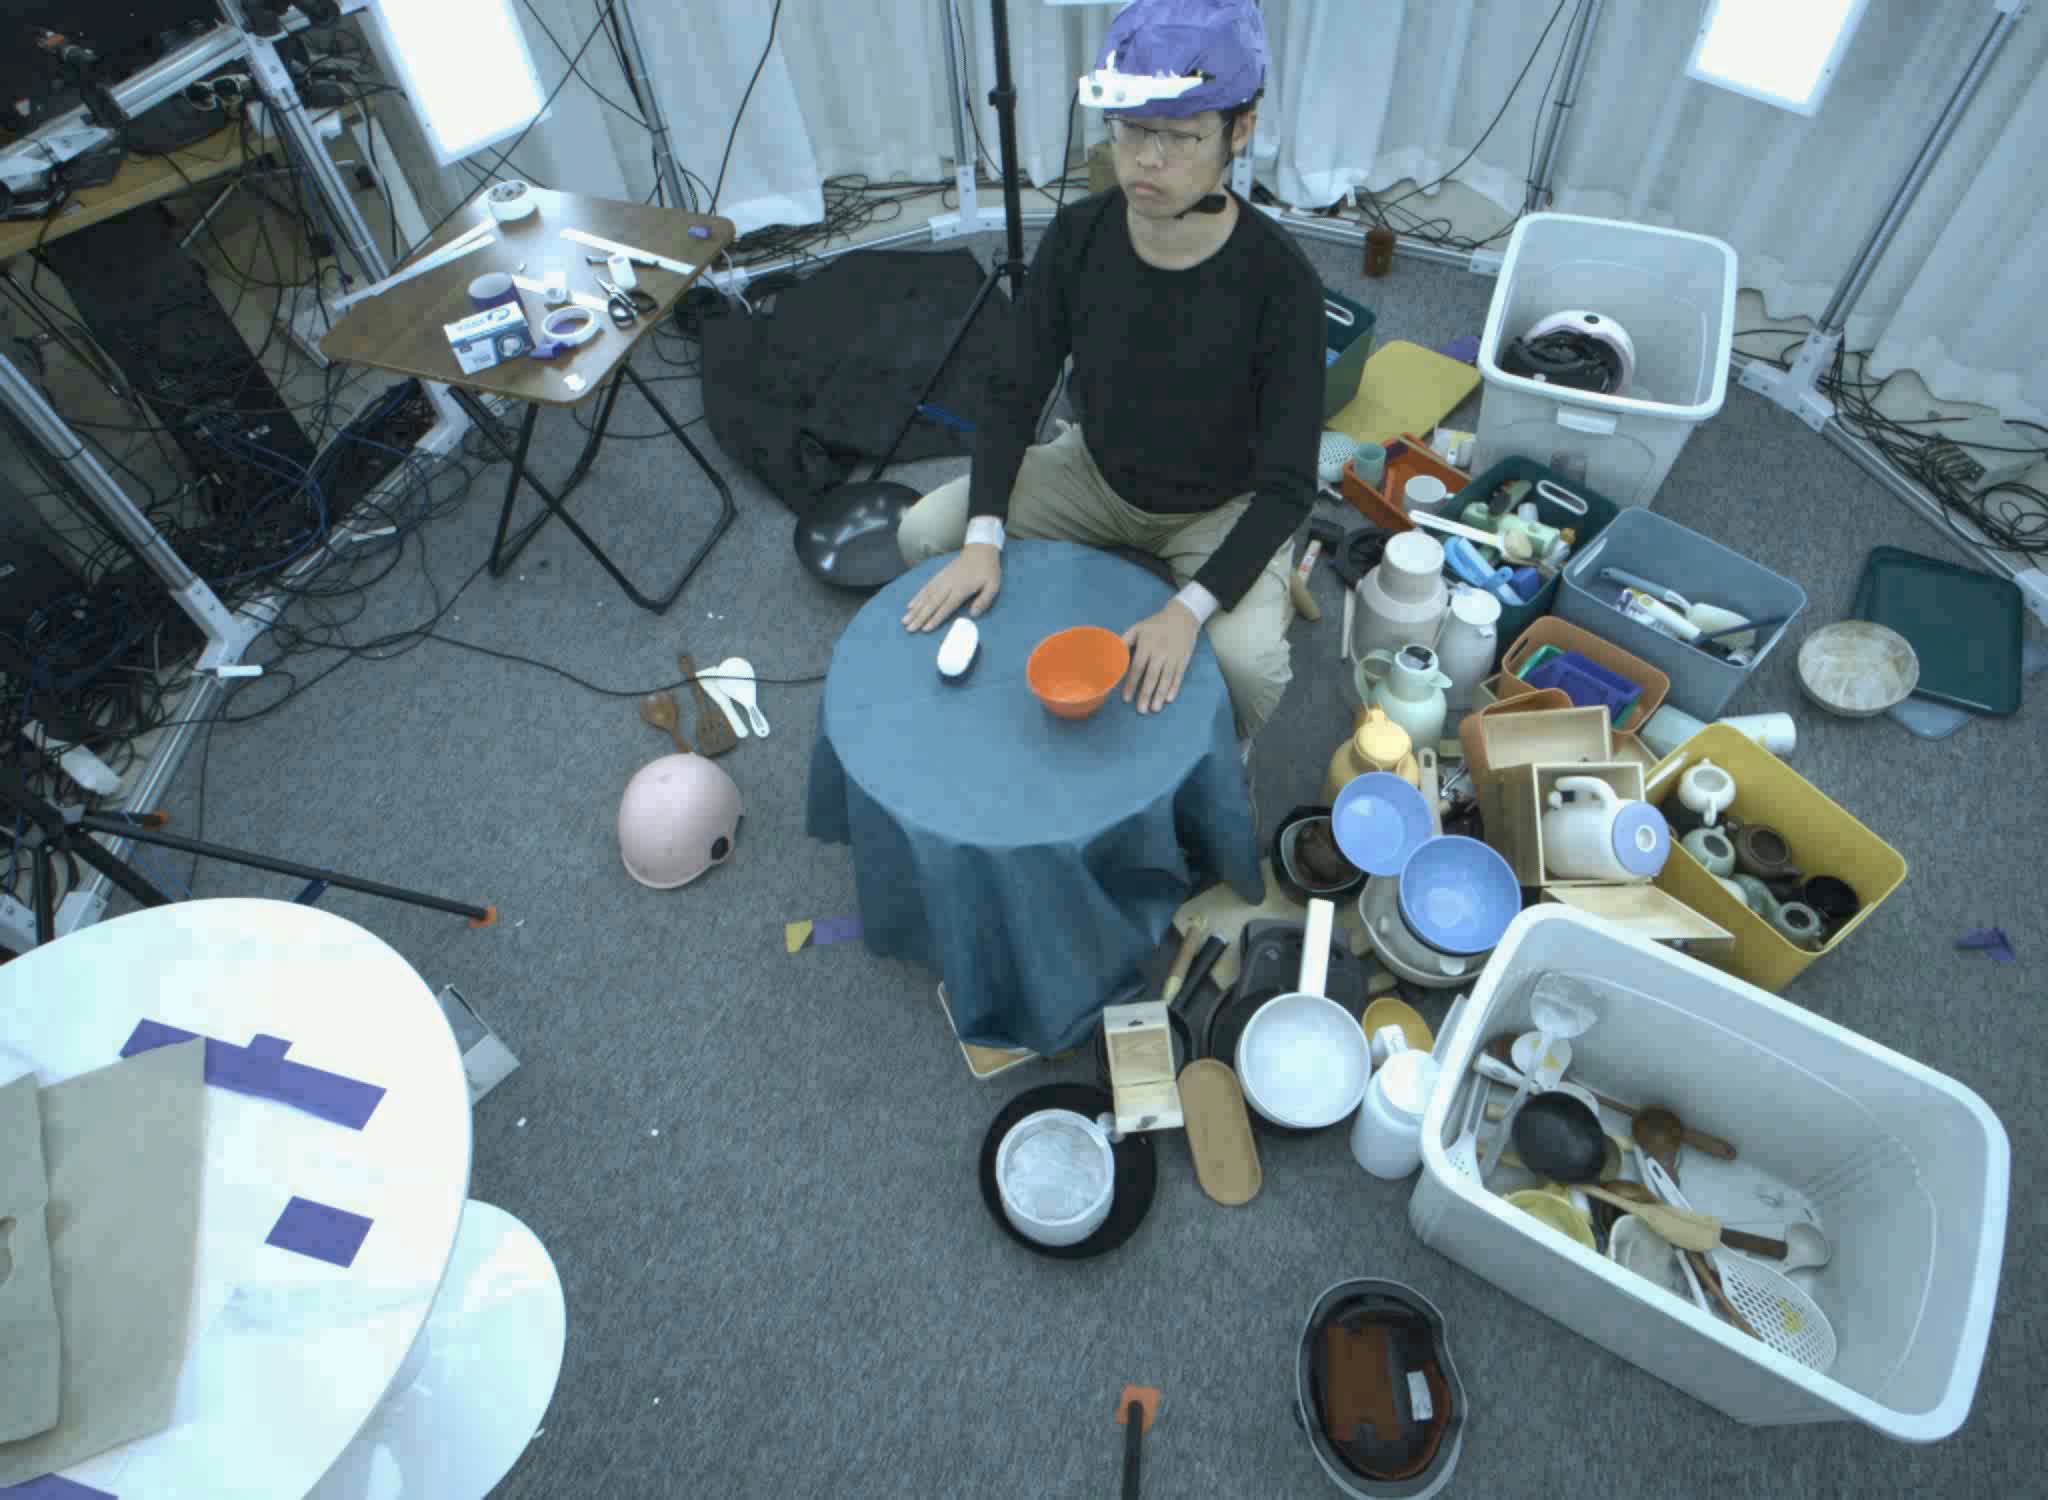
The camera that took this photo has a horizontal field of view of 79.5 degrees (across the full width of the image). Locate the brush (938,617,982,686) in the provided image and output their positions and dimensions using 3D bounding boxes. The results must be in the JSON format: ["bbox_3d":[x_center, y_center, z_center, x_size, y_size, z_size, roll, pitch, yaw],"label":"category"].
[{"bbox_3d":[-0.100,-0.157,1.857,0.050,0.073,0.099,14,57,14],"label":"brush"}]

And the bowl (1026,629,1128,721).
[{"bbox_3d":[0.078,-0.097,1.794,0.148,0.106,0.146,-1,53,2],"label":"bowl"}]
